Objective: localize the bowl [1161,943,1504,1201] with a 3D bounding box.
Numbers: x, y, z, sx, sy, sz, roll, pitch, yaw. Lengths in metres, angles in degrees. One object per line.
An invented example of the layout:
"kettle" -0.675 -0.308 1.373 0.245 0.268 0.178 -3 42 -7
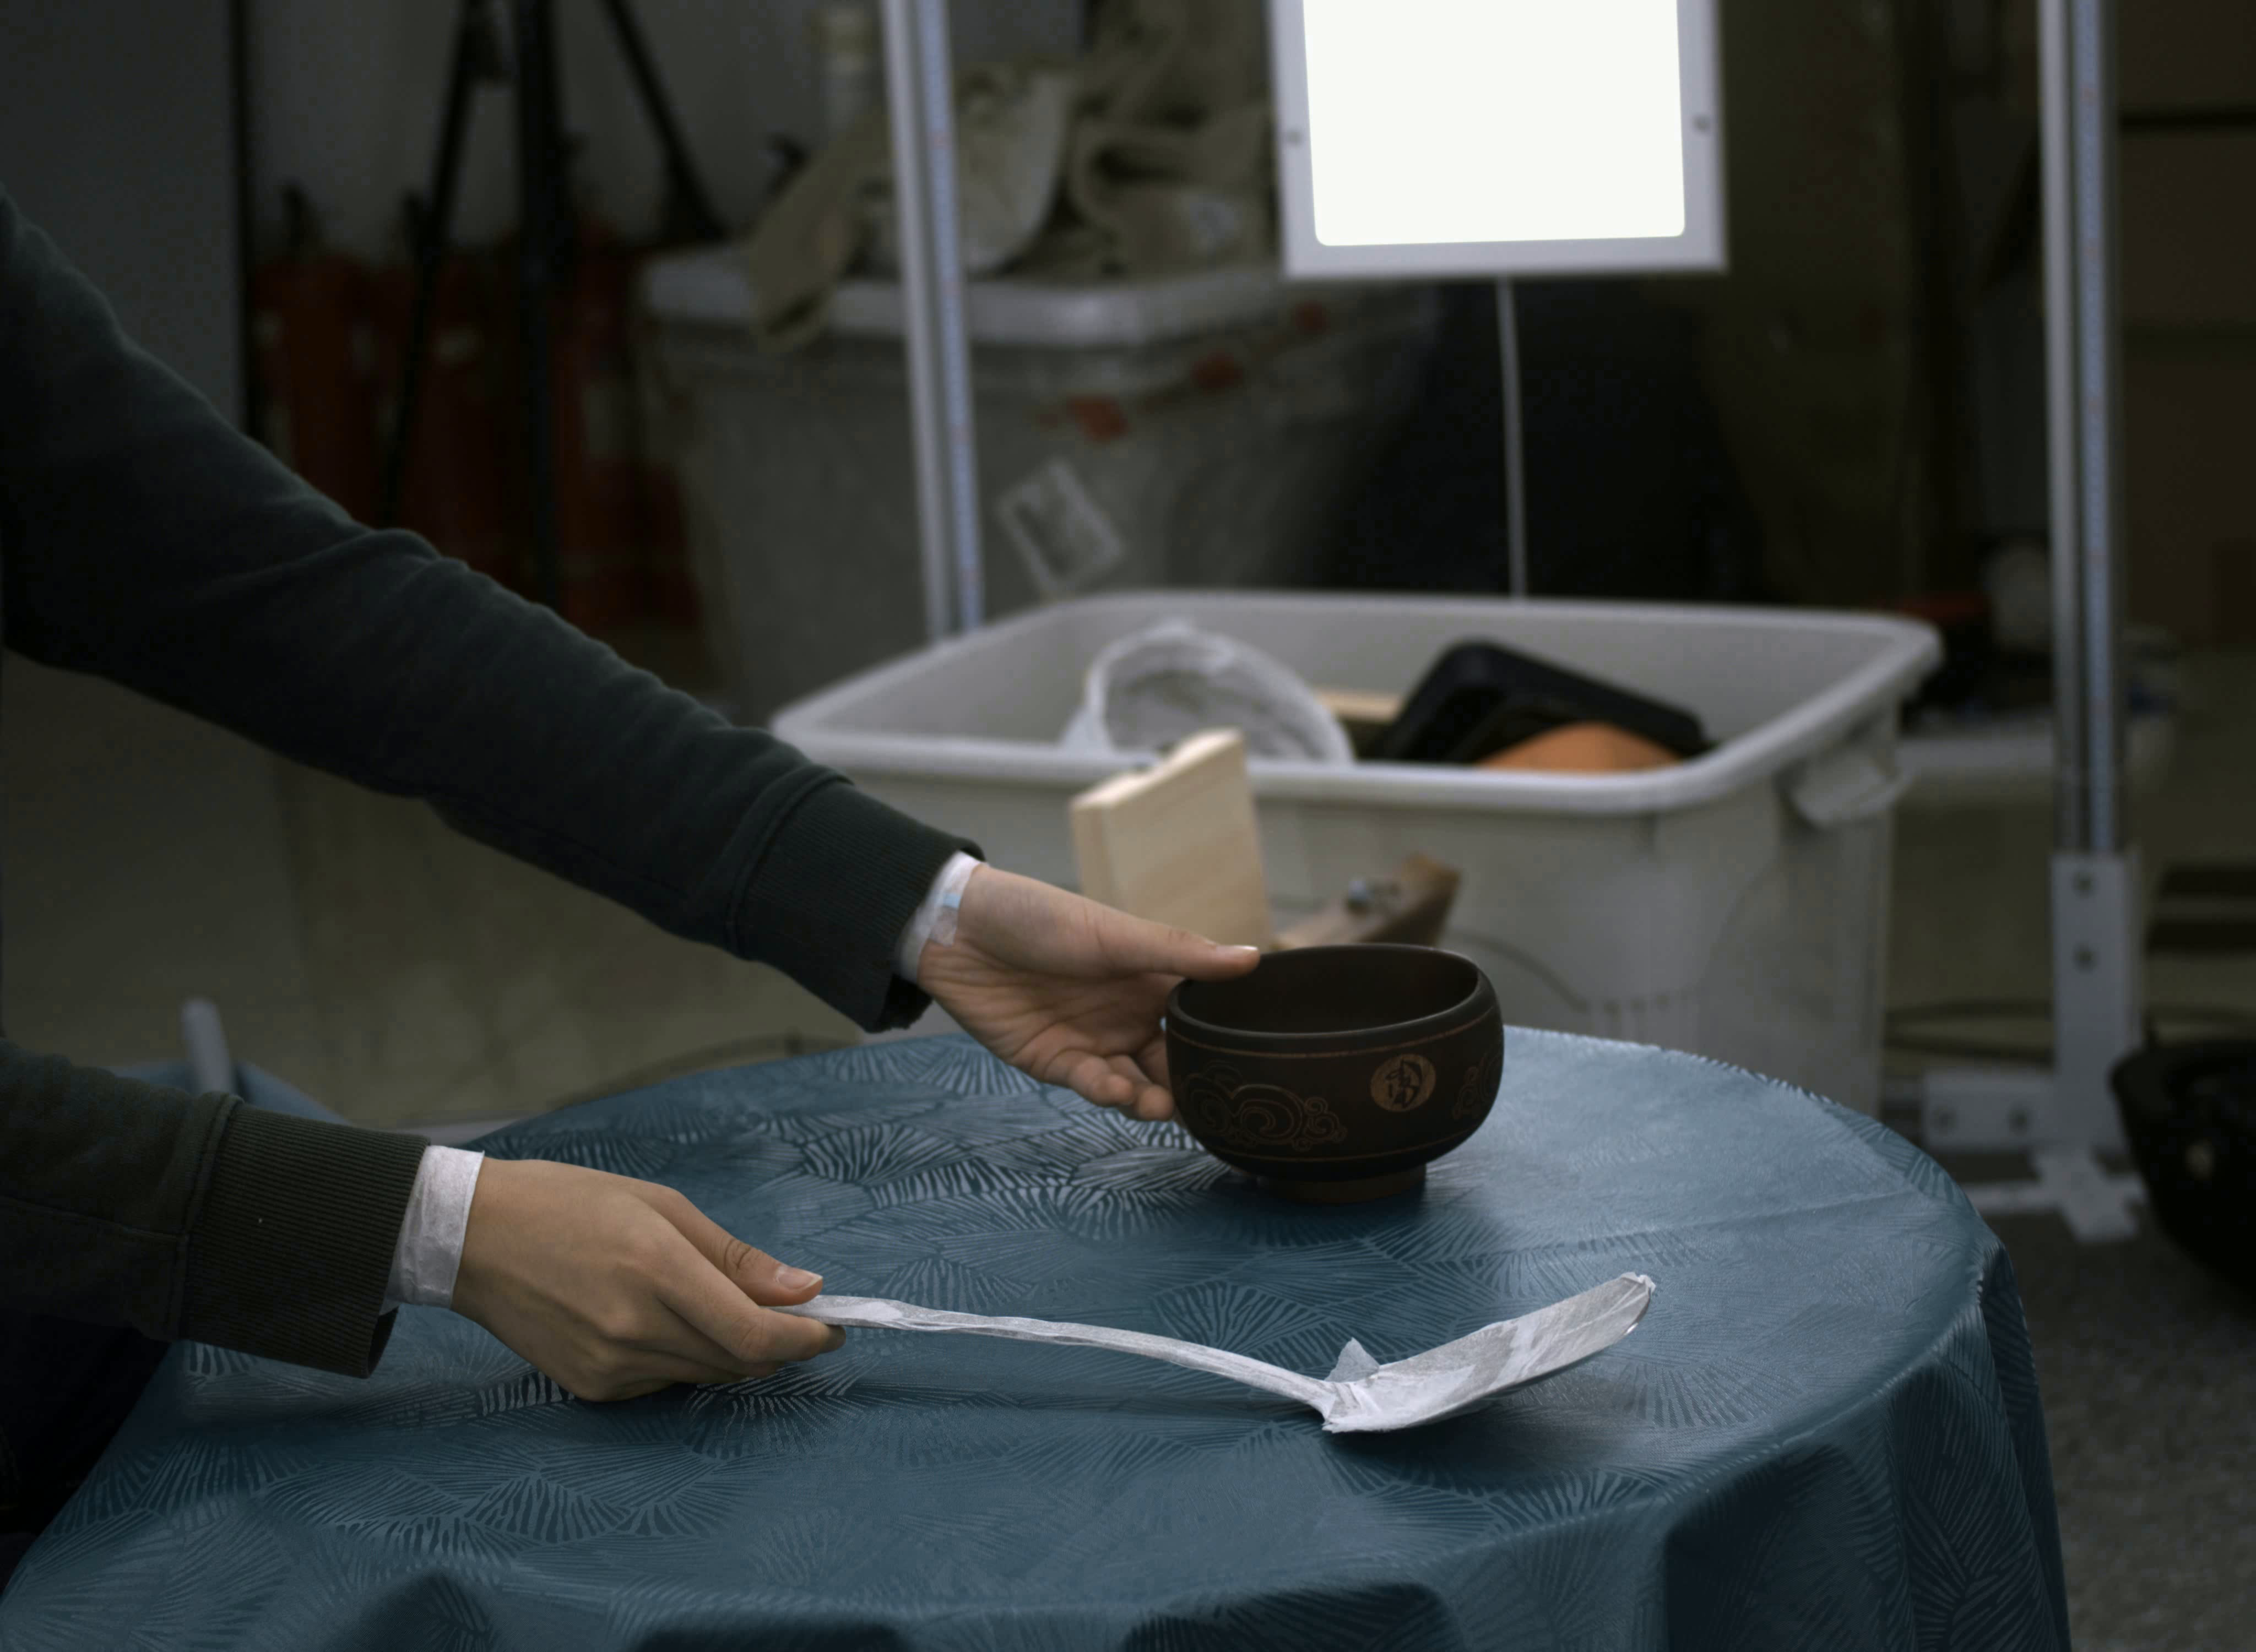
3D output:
"bowl" 0.072 0.087 1.883 0.118 0.070 0.118 -6 12 0

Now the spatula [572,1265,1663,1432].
"spatula" -0.015 0.152 1.698 0.370 0.045 0.097 4 16 23
